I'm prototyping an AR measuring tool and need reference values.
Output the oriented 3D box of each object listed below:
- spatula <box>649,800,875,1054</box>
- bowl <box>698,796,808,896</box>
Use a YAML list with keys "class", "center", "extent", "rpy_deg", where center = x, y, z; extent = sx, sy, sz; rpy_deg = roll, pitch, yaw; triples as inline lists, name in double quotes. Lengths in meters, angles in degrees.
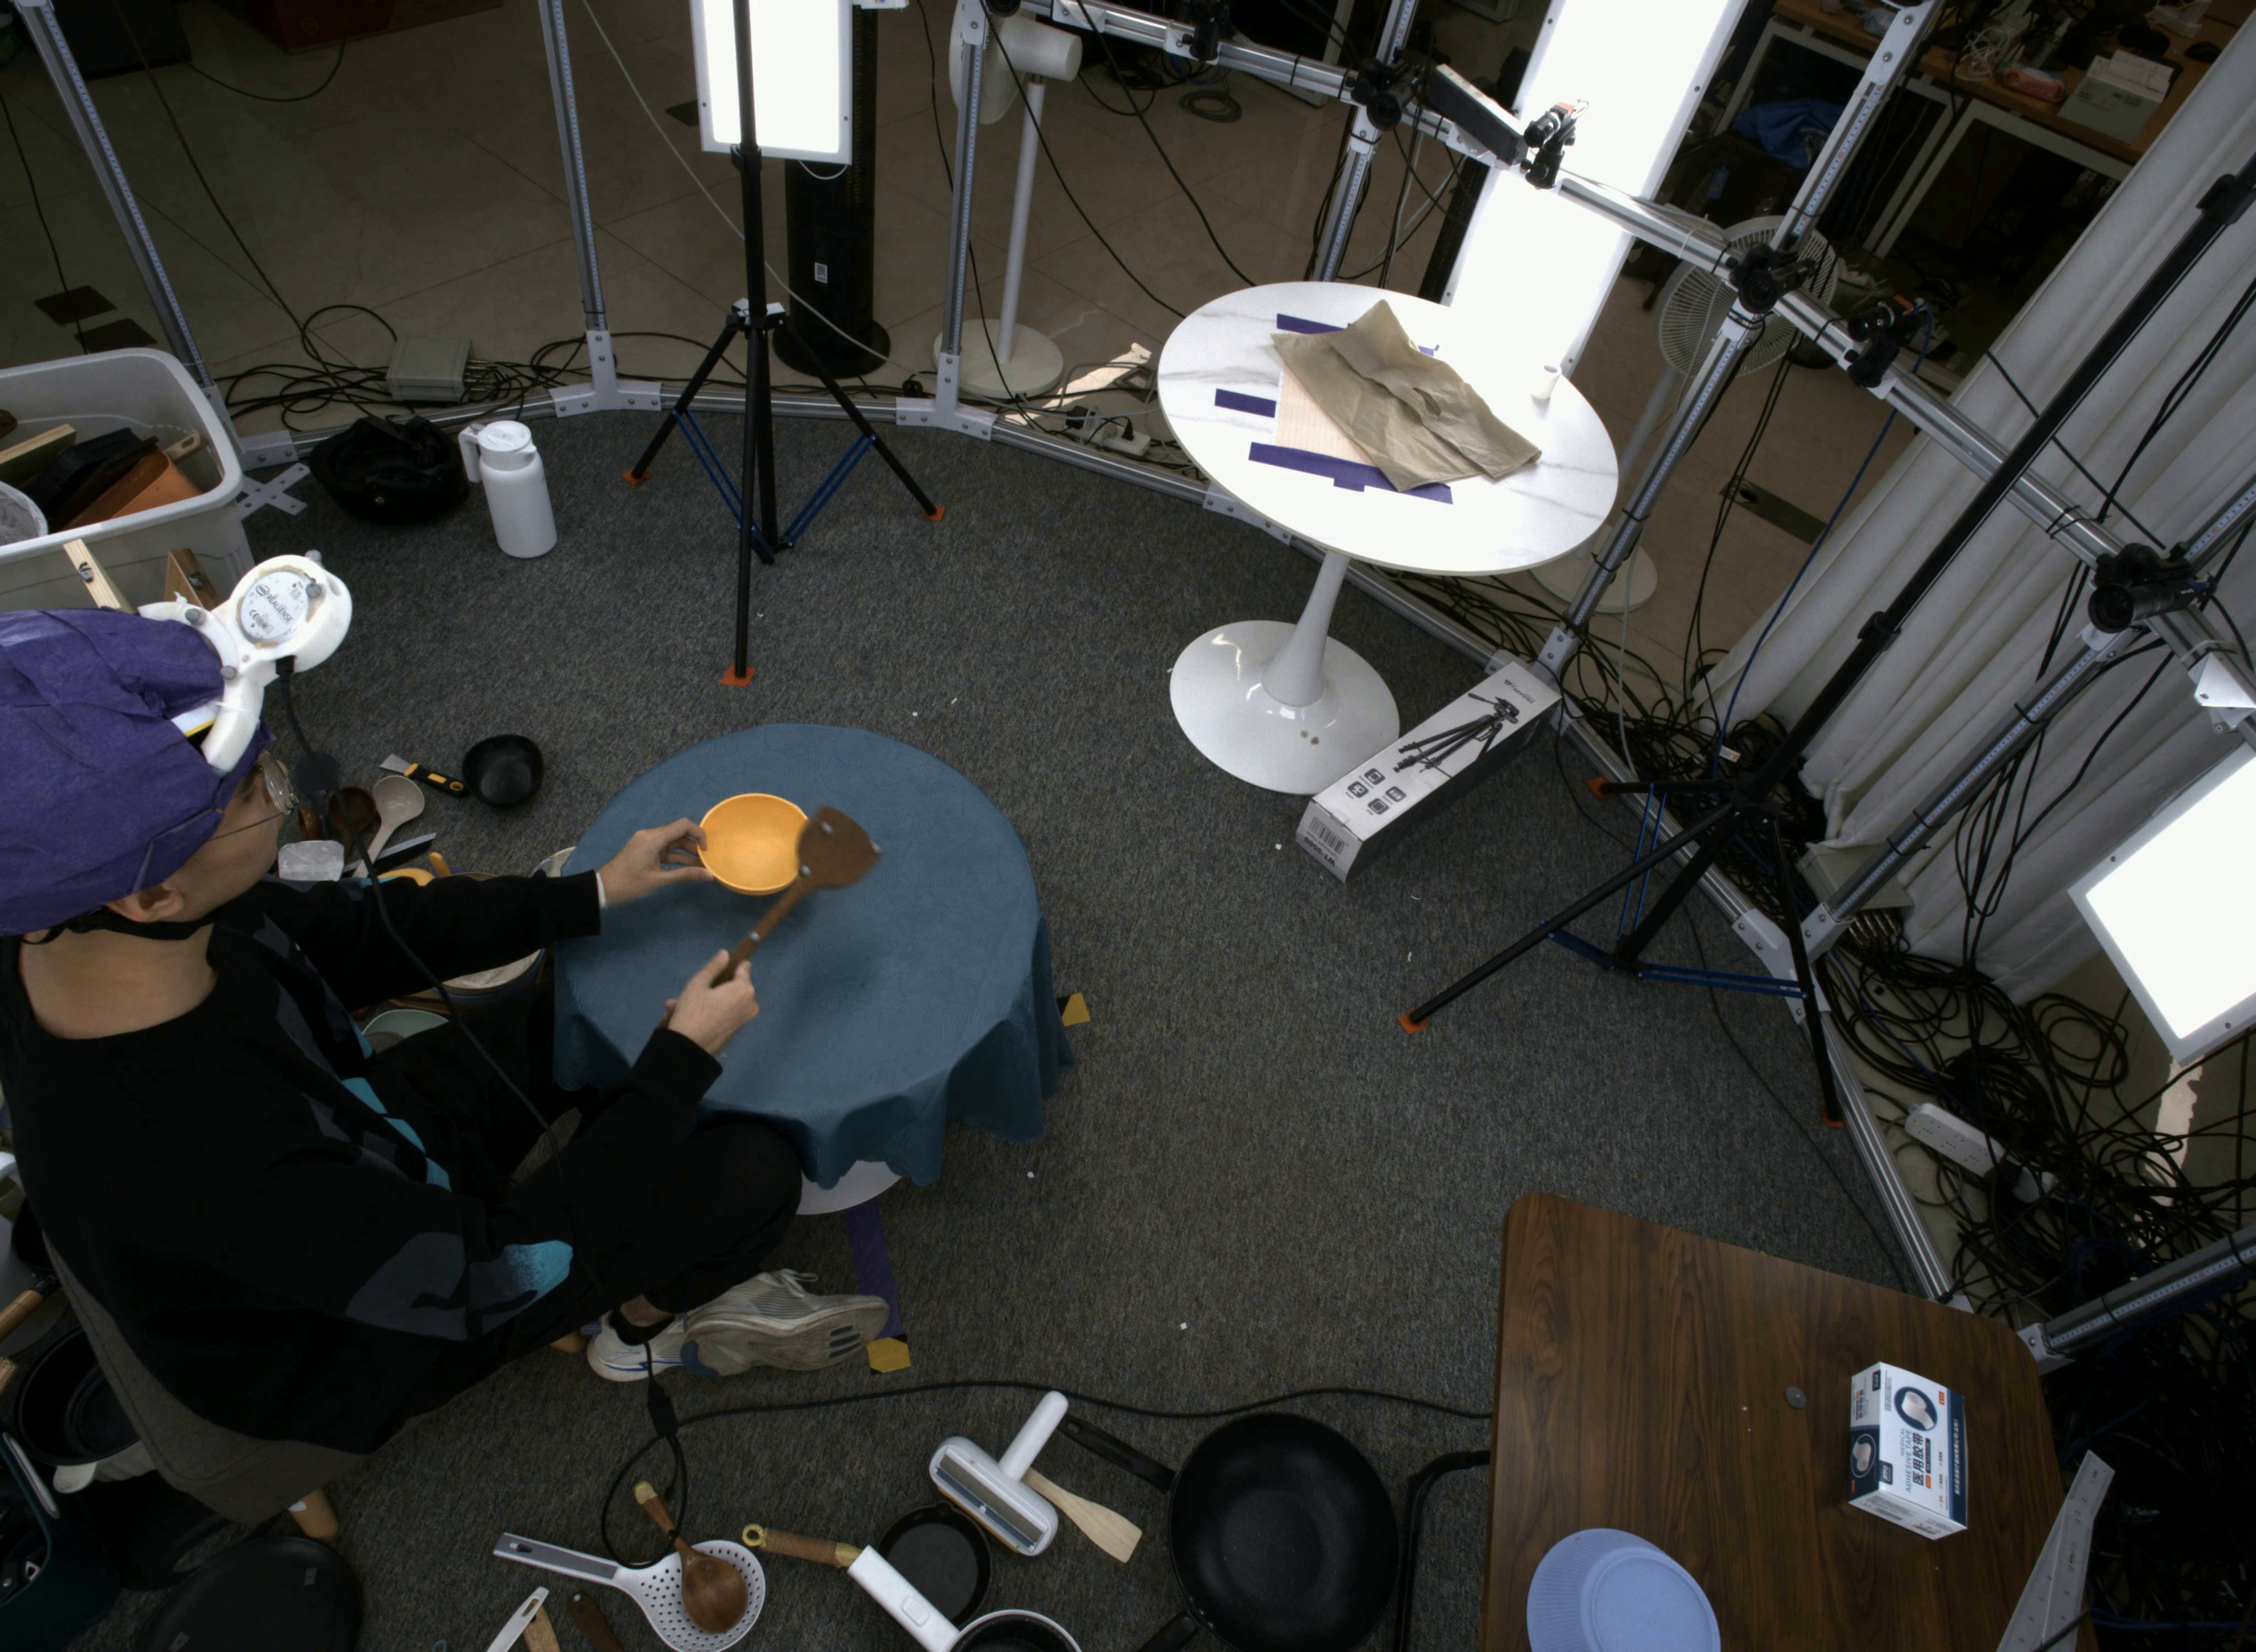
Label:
- class: "spatula"
  center: [-0.407, 0.107, 1.430]
  extent: [0.097, 0.015, 0.383]
  rpy_deg: [44, 44, -12]
- class: "bowl"
  center: [-0.464, 0.035, 1.623]
  extent: [0.145, 0.061, 0.143]
  rpy_deg: [9, 52, -10]
